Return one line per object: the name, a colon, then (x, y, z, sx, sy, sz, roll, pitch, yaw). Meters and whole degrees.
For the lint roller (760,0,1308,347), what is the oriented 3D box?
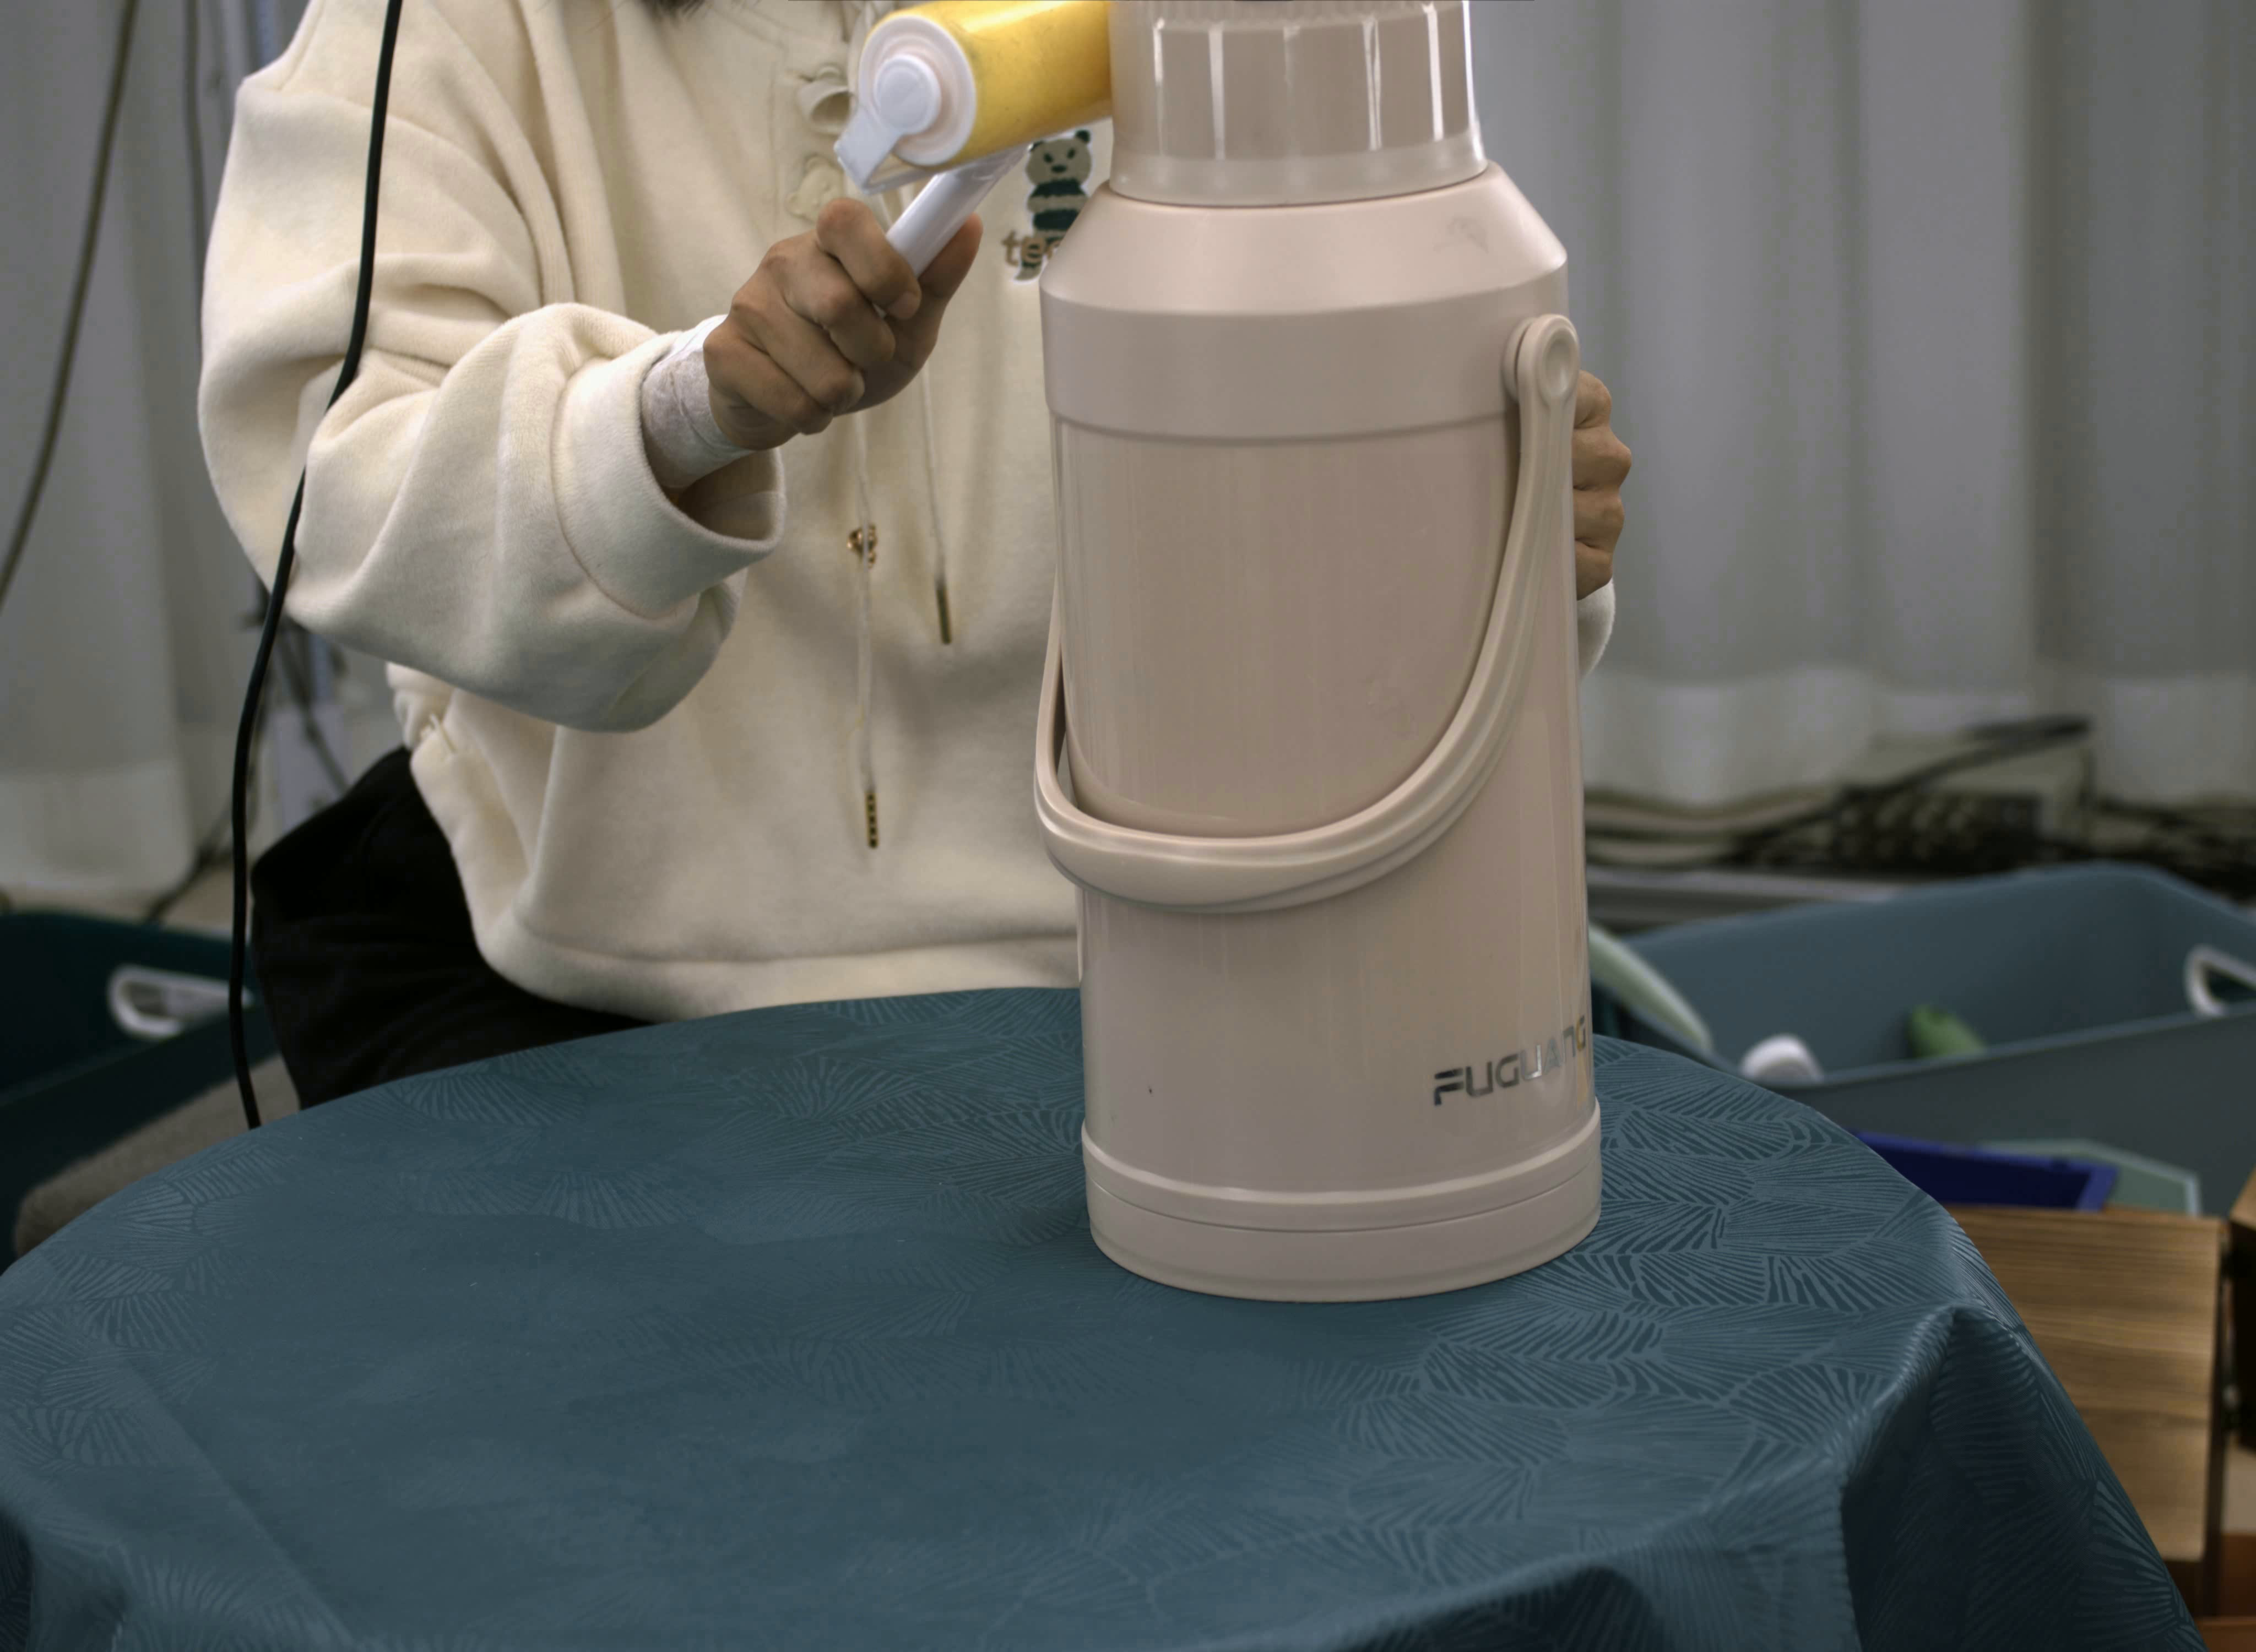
lint roller: (-0.057, -0.209, 1.691, 0.191, 0.051, 0.174, -28, -2, 41)

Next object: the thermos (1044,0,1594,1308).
thermos: (0.066, -0.074, 1.644, 0.176, 0.405, 0.207, 6, 16, 36)
